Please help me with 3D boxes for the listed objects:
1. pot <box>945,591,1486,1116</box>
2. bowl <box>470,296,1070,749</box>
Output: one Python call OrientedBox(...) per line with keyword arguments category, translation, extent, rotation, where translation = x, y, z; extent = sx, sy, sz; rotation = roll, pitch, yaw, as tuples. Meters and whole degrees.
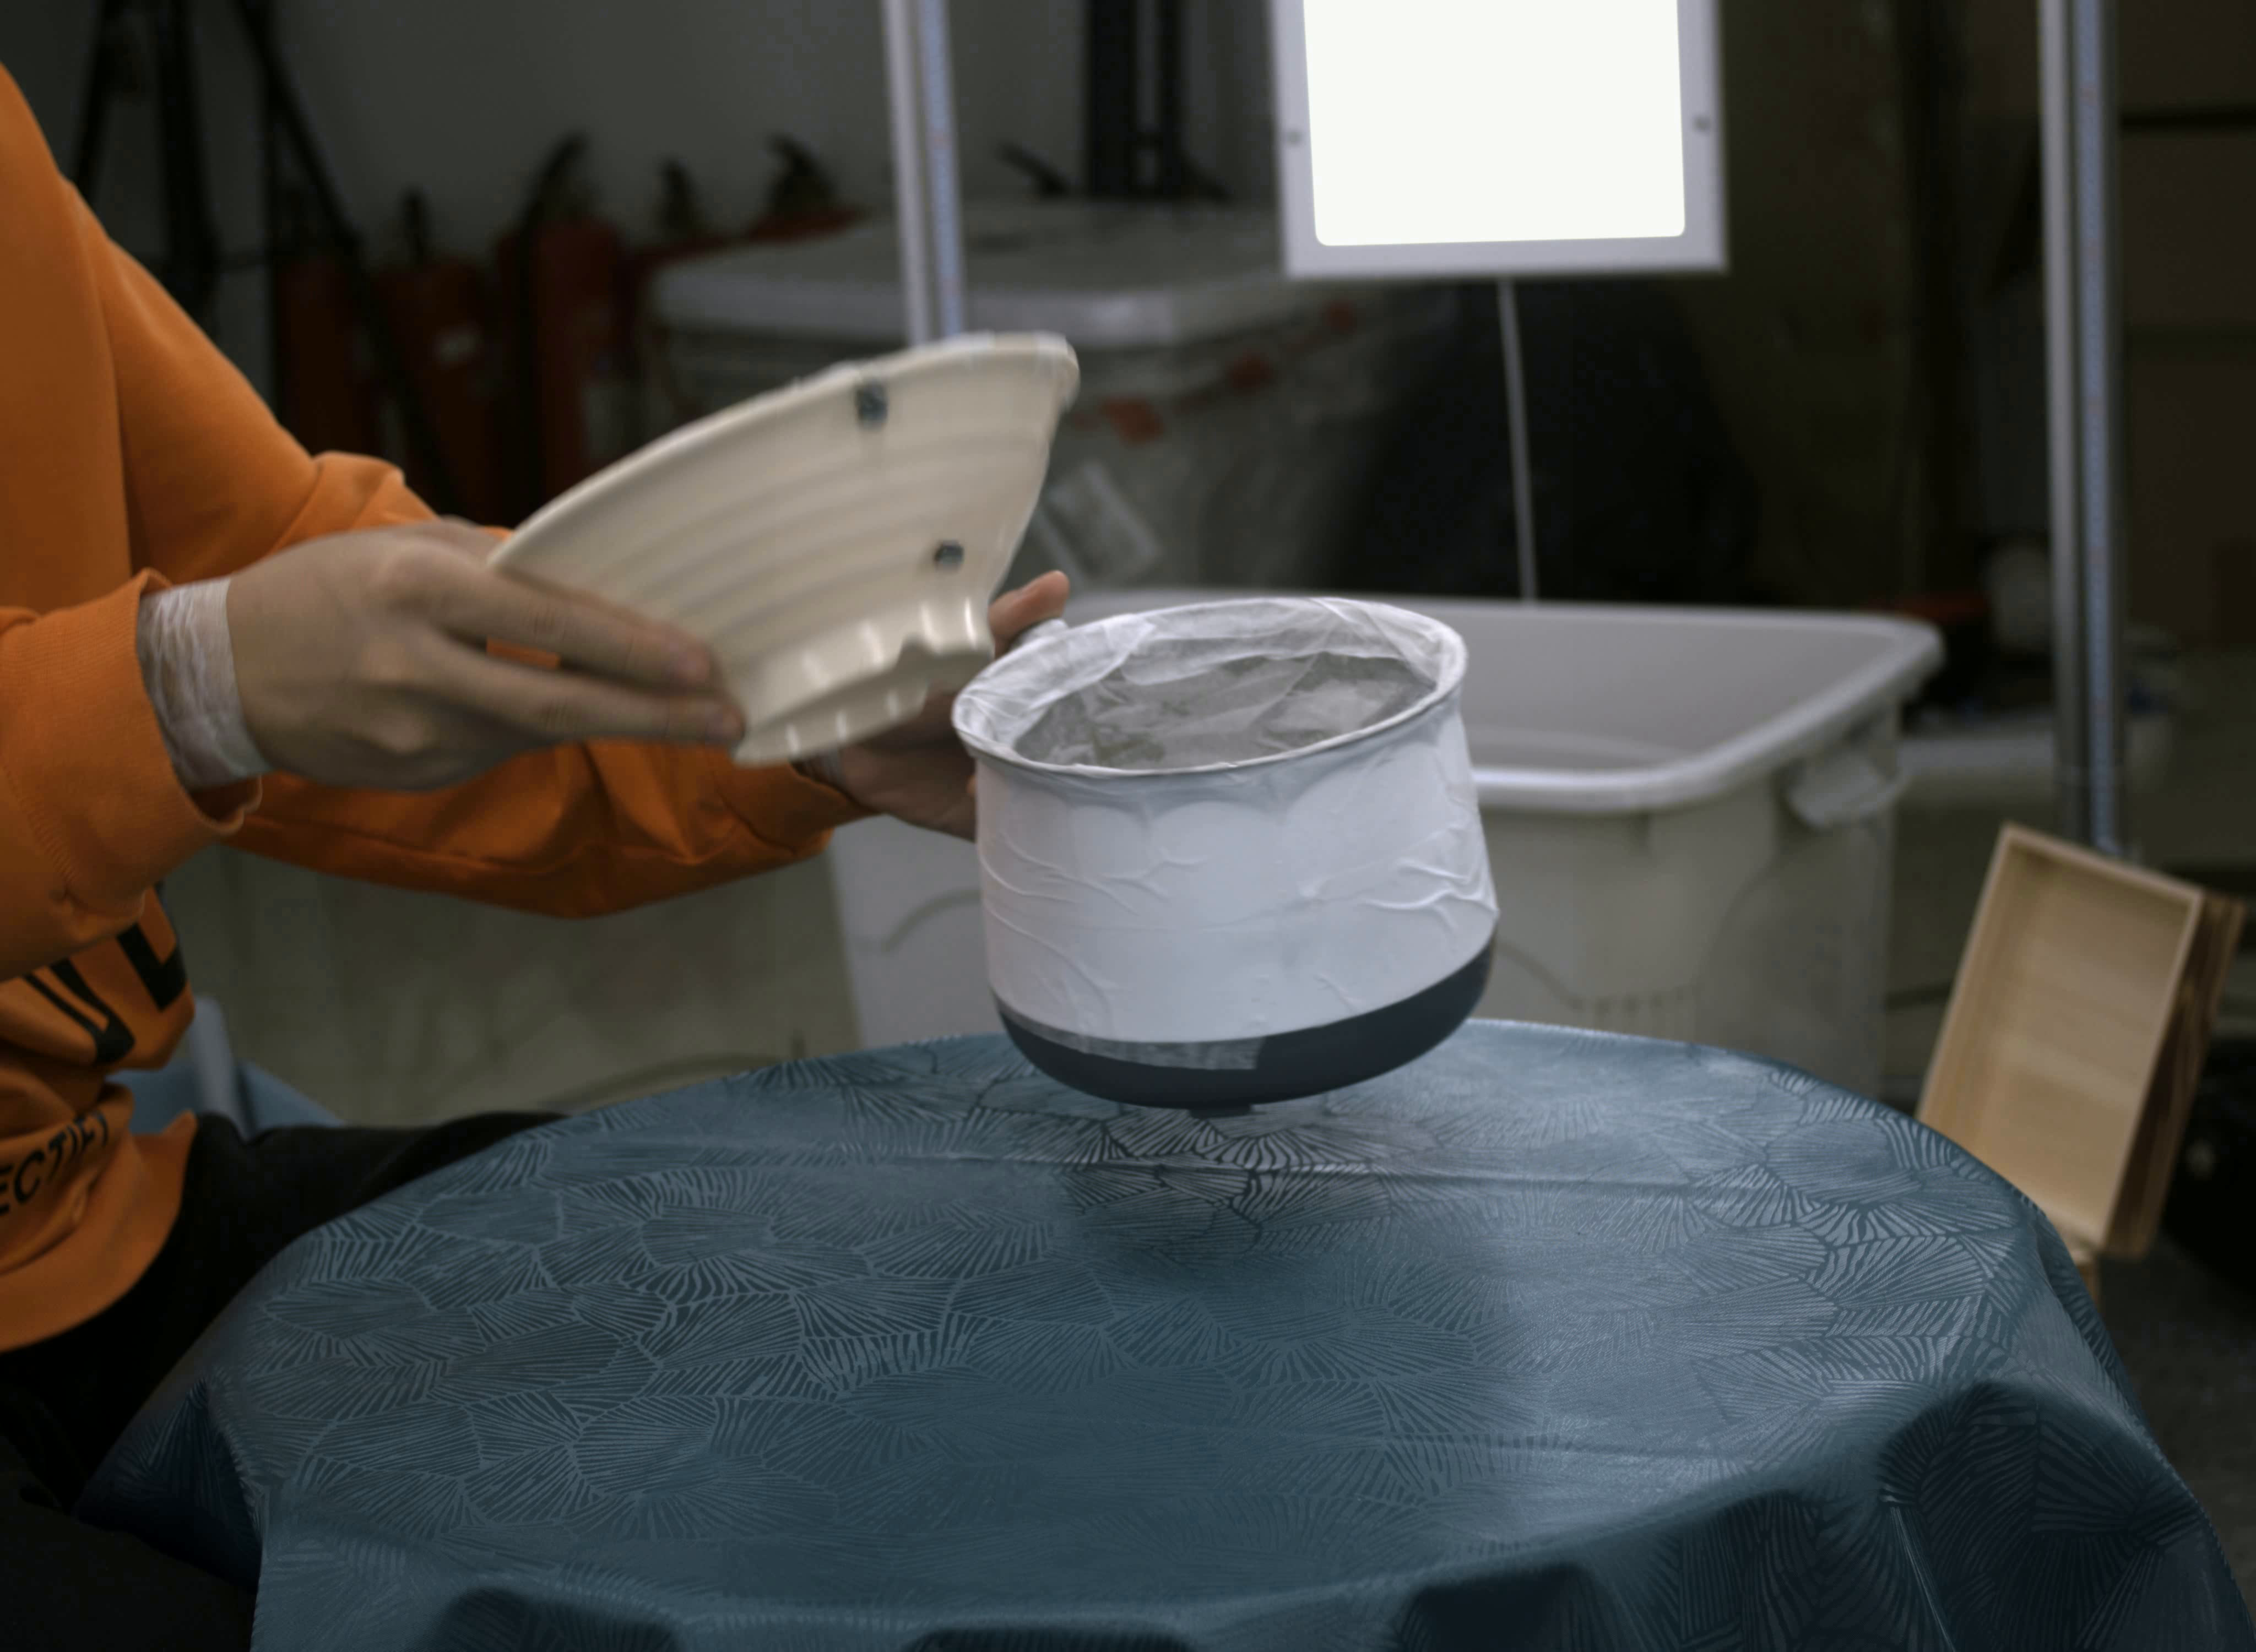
OrientedBox(category="pot", translation=(0.016, 0.003, 1.908), extent=(0.175, 0.137, 0.238), rotation=(-19, 23, -30))
OrientedBox(category="bowl", translation=(-0.094, -0.078, 1.686), extent=(0.202, 0.078, 0.204), rotation=(-25, -11, -7))
